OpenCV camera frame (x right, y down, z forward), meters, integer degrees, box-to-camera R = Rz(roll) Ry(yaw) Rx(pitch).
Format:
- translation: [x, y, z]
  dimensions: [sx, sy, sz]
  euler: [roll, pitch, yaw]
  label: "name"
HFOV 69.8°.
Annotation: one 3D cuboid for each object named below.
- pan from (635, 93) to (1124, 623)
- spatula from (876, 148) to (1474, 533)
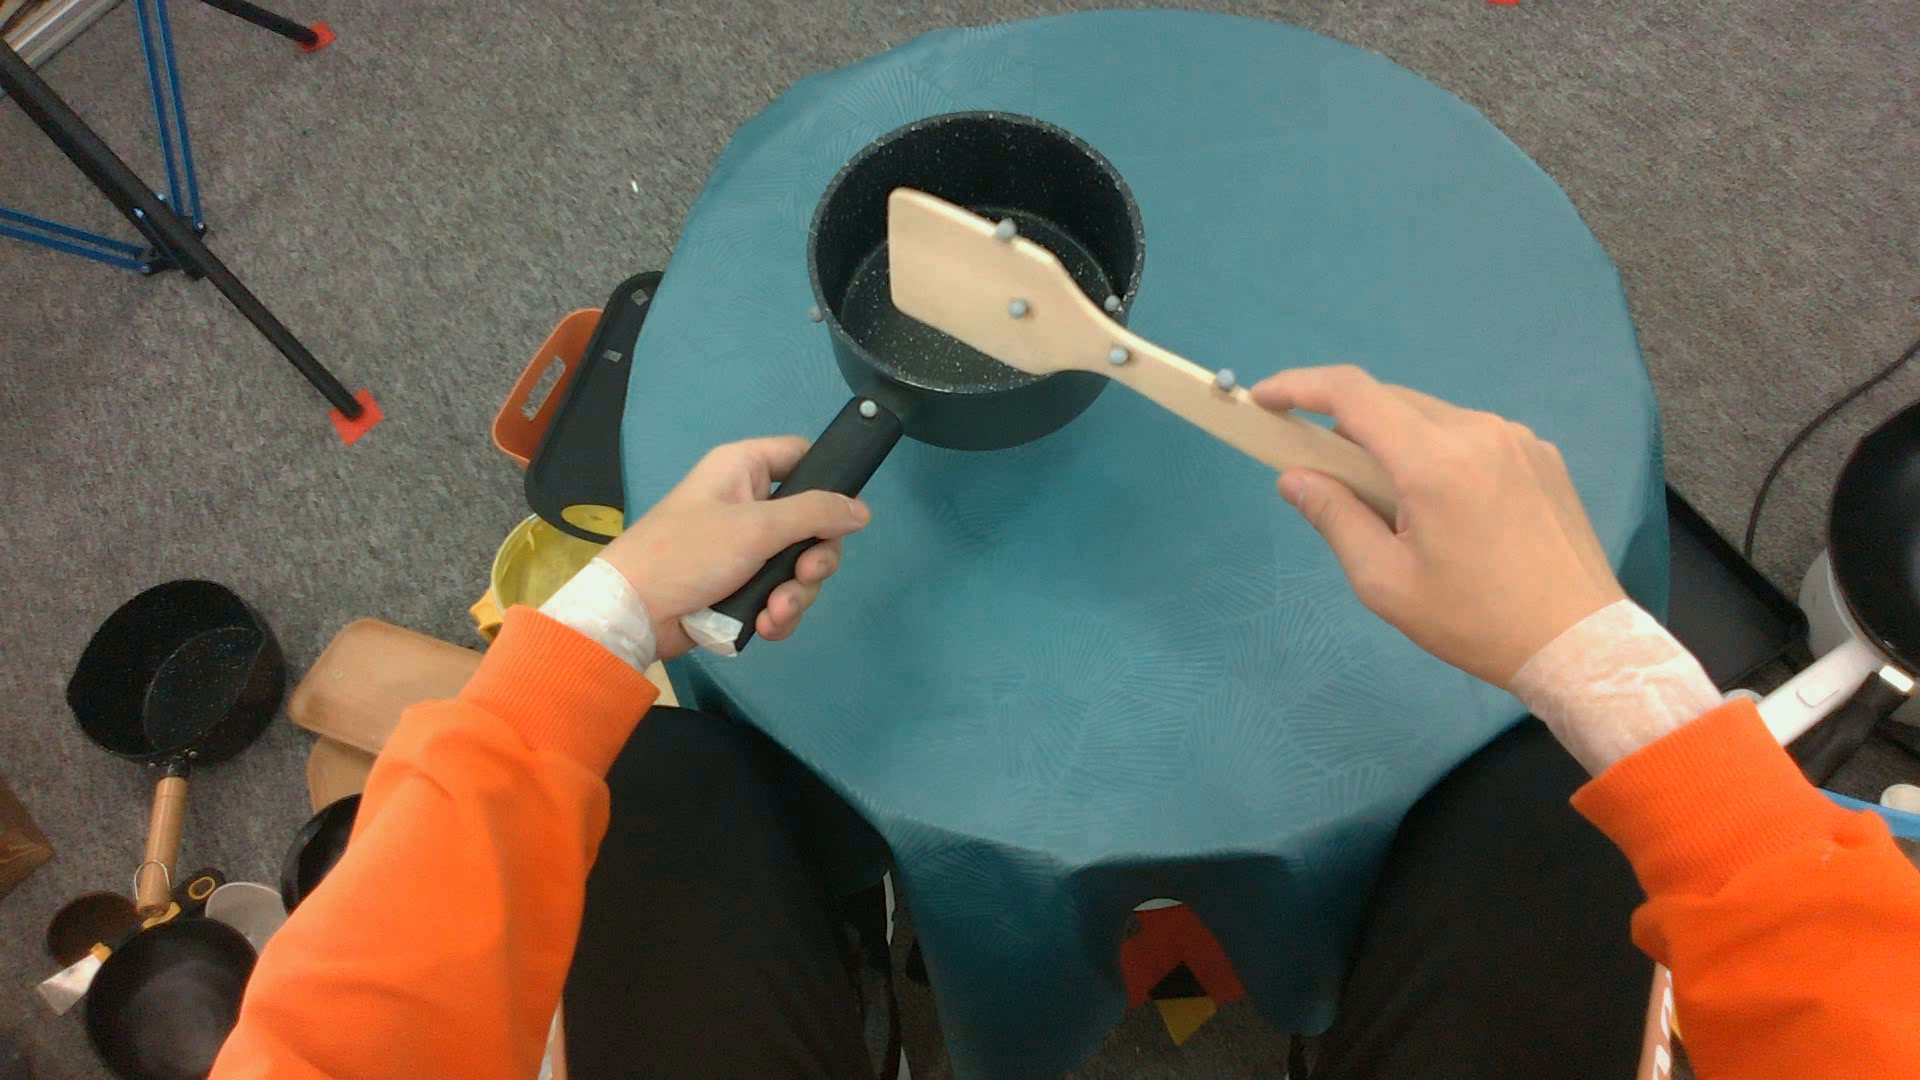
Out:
- translation: [-0.043, -0.083, 0.696]
  dimensions: [0.172, 0.086, 0.330]
  euler: [29, 68, 14]
  label: "pan"
- translation: [0.082, -0.083, 0.589]
  dimensions: [0.293, 0.072, 0.011]
  euler: [31, 49, 20]
  label: "spatula"
